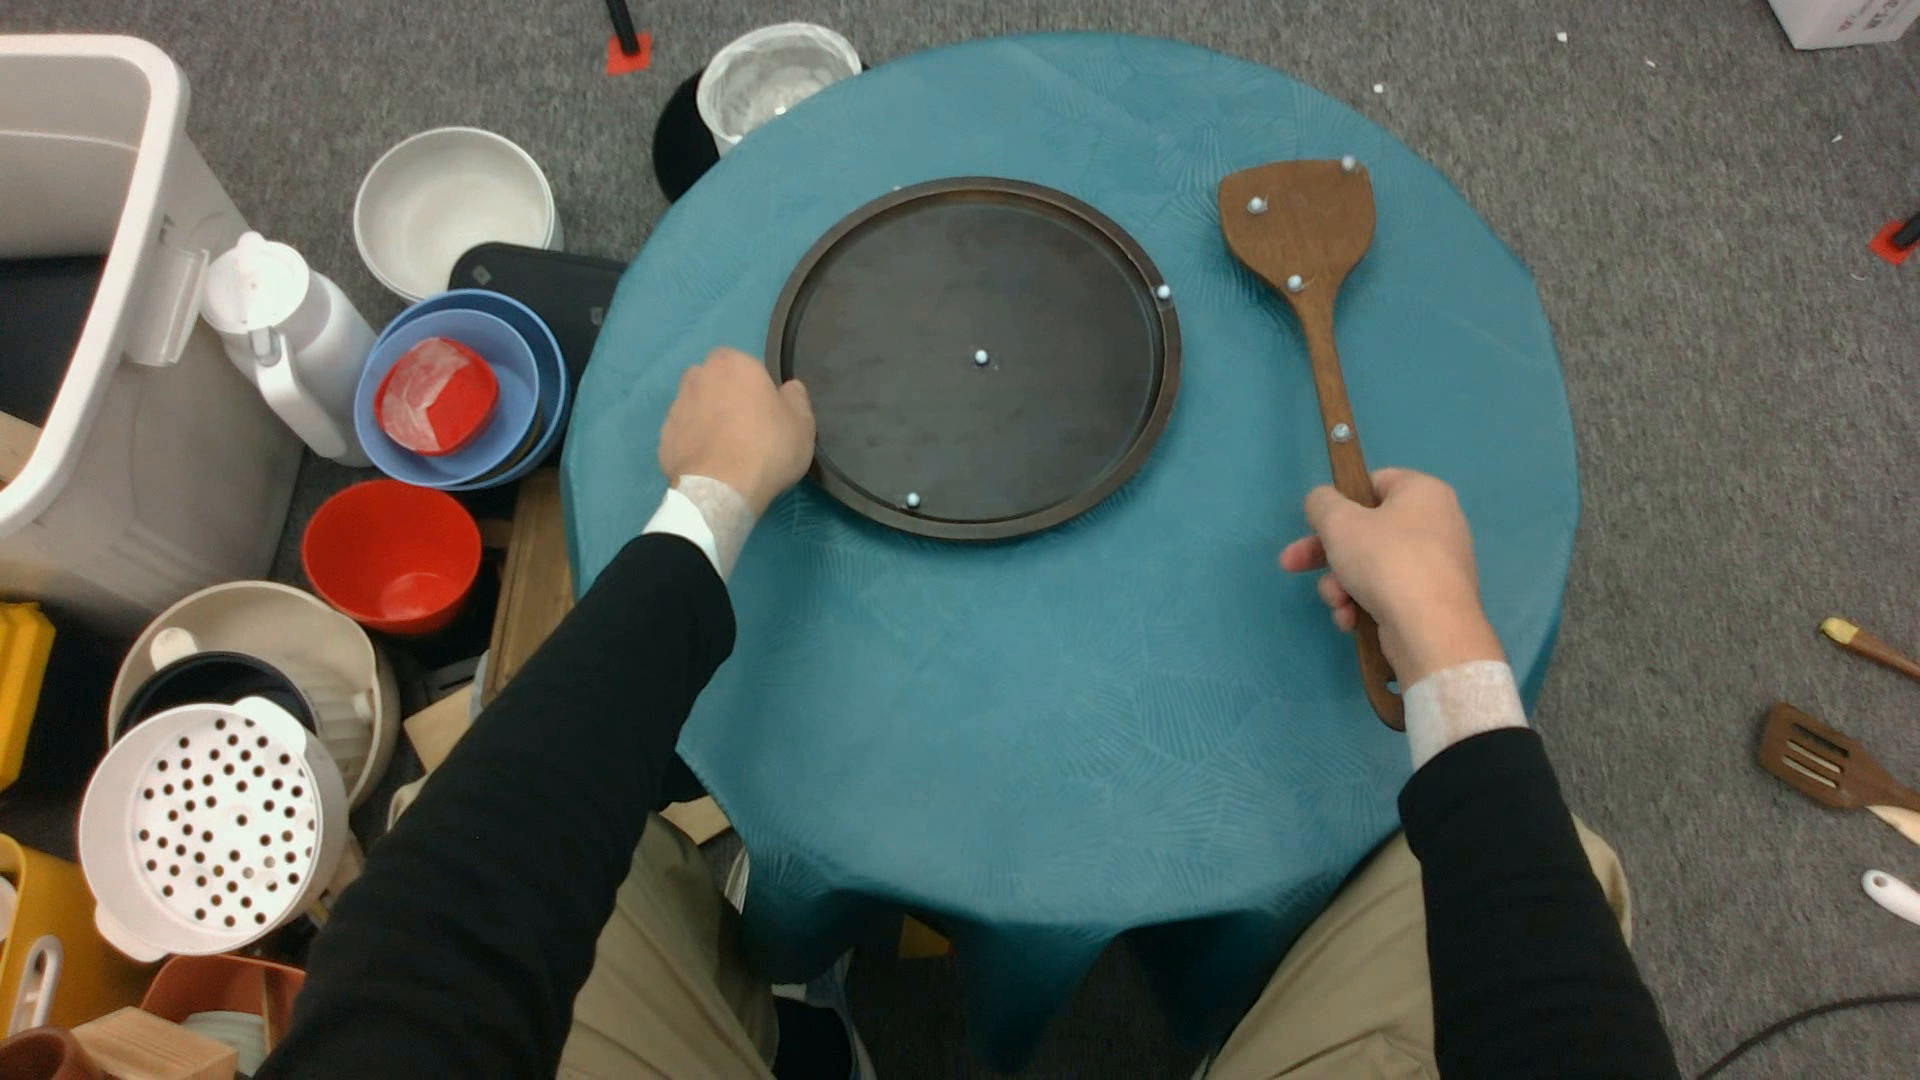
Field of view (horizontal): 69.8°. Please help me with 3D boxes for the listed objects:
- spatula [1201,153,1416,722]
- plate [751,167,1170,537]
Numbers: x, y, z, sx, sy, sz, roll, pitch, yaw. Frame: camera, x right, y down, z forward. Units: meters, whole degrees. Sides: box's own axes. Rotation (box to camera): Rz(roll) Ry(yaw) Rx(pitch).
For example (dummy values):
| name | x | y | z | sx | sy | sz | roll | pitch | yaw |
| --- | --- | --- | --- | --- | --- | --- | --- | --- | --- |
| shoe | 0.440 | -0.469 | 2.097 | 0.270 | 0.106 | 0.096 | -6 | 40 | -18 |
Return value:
| name | x | y | z | sx | sy | sz | roll | pitch | yaw |
| --- | --- | --- | --- | --- | --- | --- | --- | --- | --- |
| spatula | 0.206 | -0.078 | 0.781 | 0.096 | 0.016 | 0.387 | -6 | 59 | 6 |
| plate | 0.000 | -0.118 | 0.835 | 0.255 | 0.029 | 0.255 | 0 | 67 | 0 |
